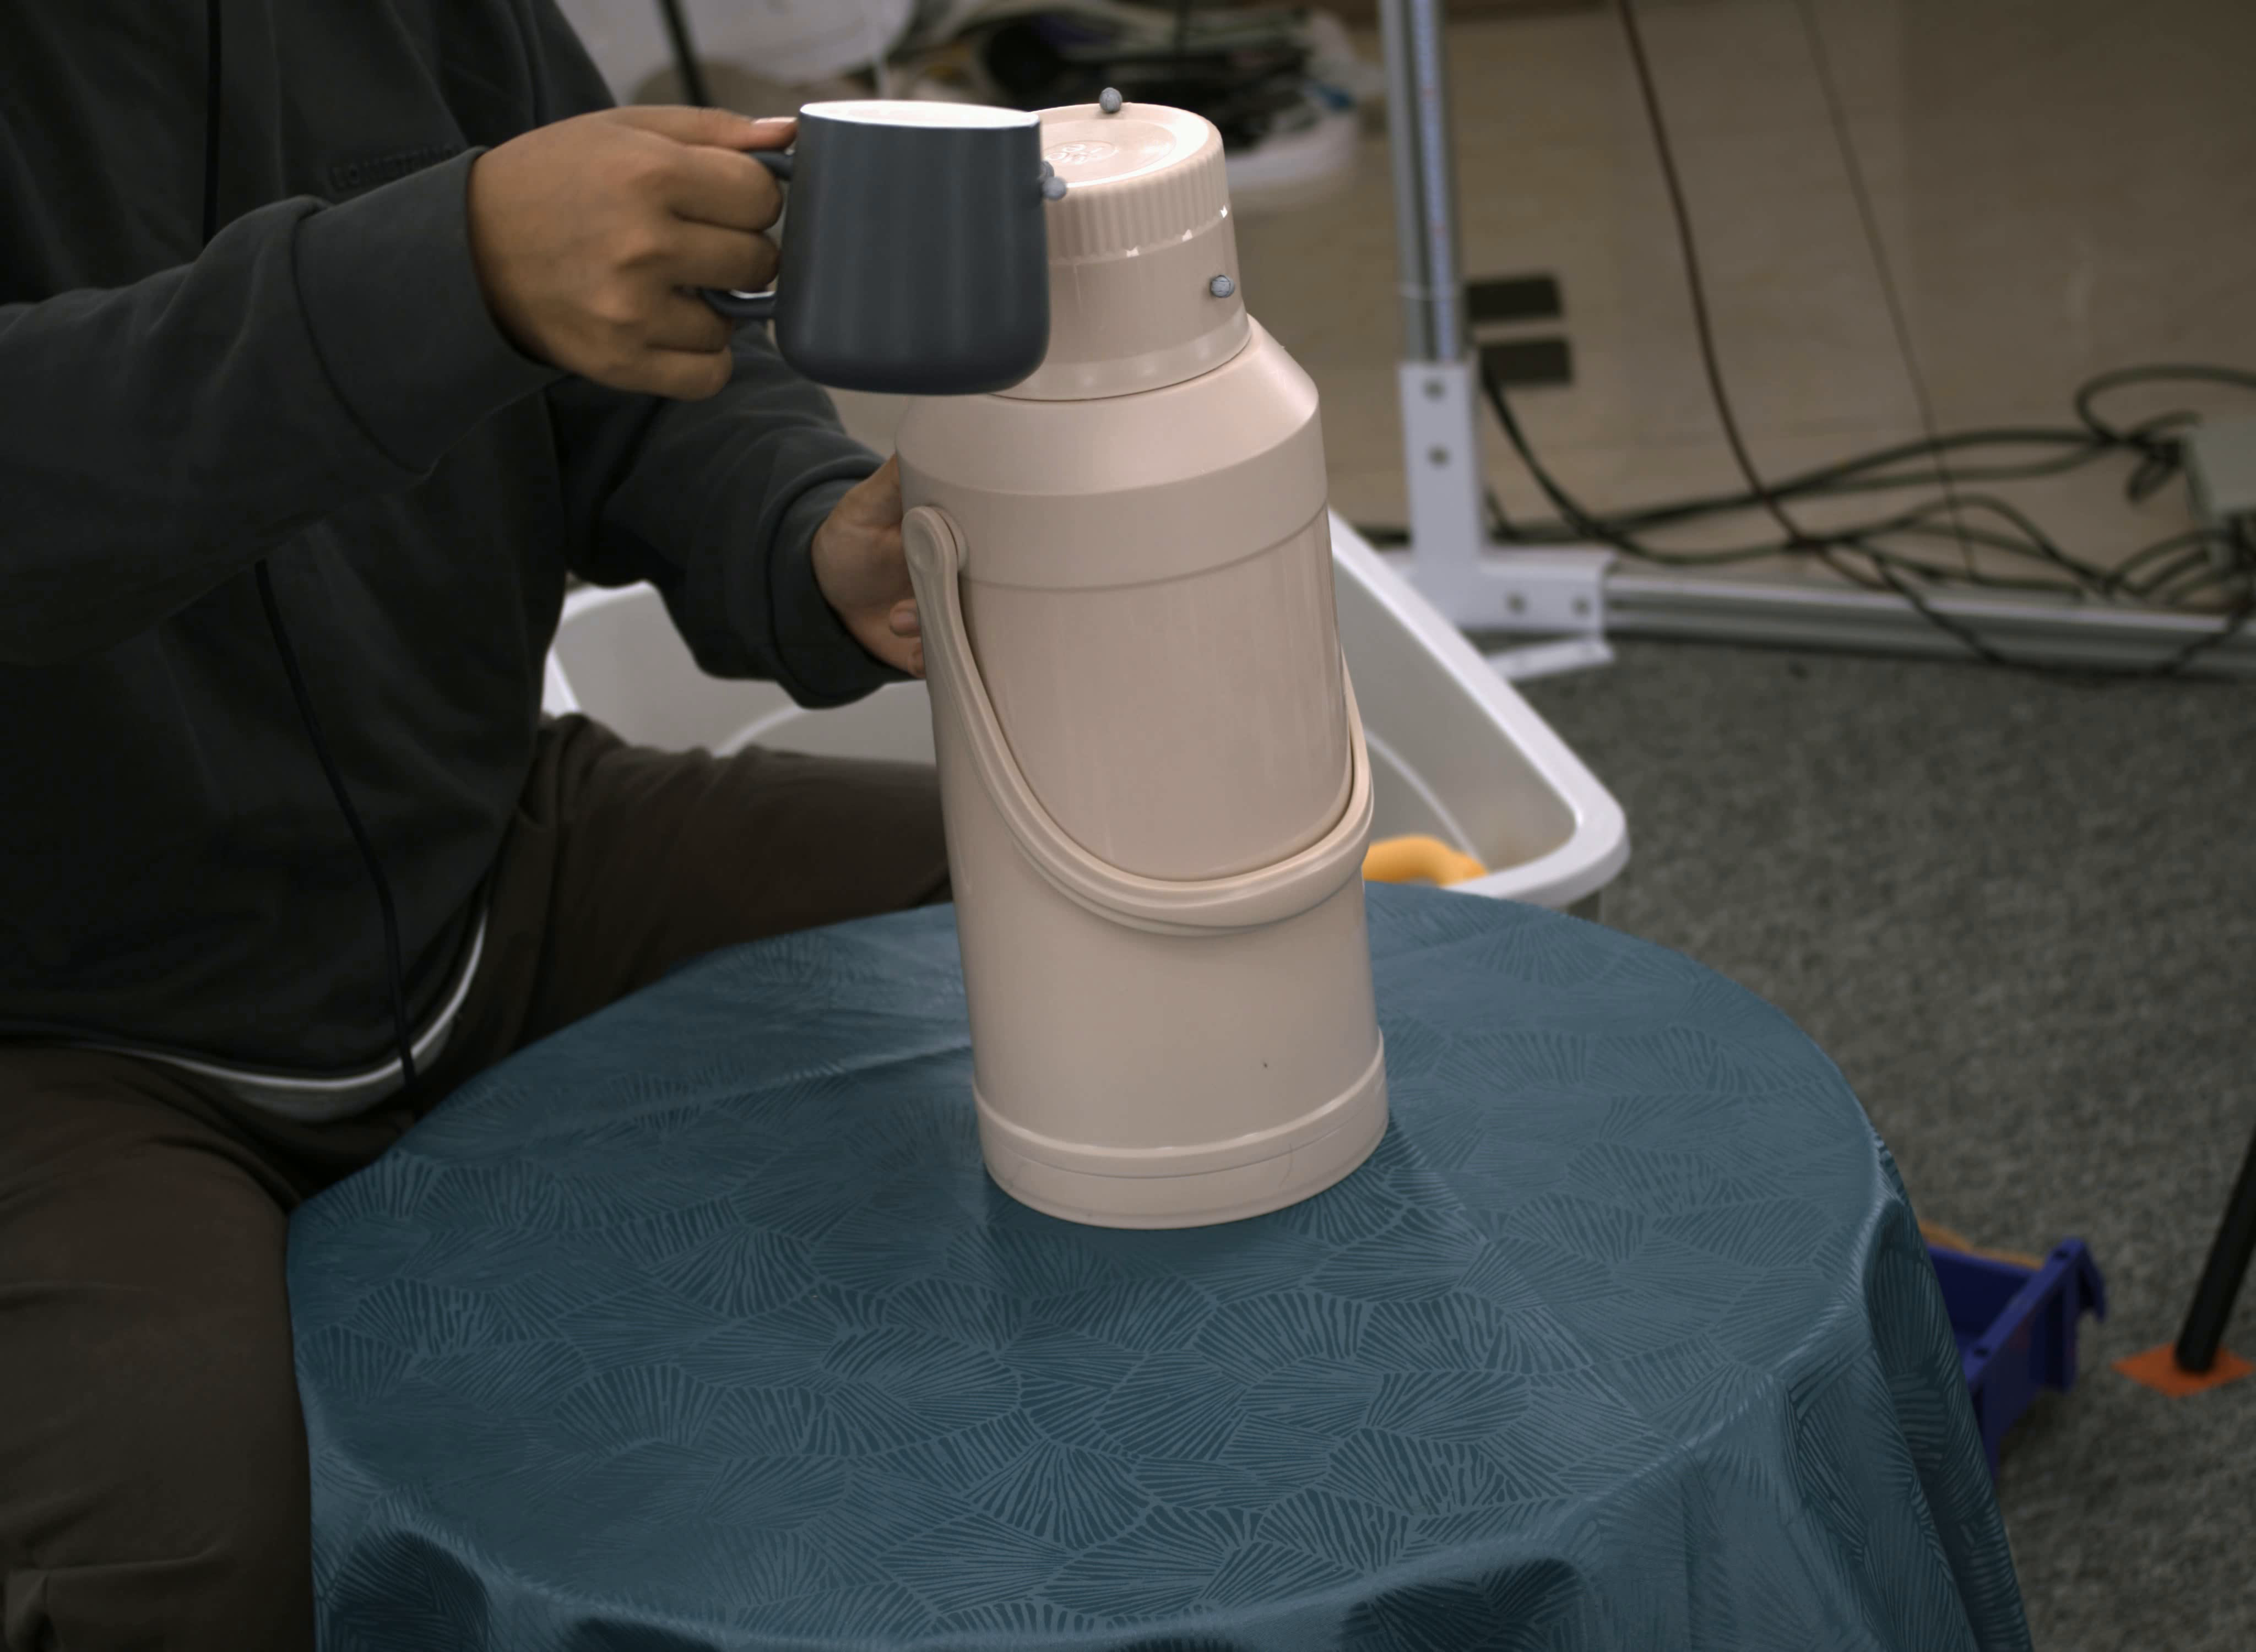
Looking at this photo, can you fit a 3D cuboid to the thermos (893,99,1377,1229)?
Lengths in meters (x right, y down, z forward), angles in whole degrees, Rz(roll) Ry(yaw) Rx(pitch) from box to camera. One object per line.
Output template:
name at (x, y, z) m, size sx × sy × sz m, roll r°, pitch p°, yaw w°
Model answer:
thermos at (-0.008, -0.065, 2.112) m, size 0.174 × 0.413 × 0.205 m, roll -24°, pitch 31°, yaw -32°

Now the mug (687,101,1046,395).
mug at (-0.088, -0.196, 1.897) m, size 0.123 × 0.091 × 0.093 m, roll 5°, pitch 14°, yaw 8°
